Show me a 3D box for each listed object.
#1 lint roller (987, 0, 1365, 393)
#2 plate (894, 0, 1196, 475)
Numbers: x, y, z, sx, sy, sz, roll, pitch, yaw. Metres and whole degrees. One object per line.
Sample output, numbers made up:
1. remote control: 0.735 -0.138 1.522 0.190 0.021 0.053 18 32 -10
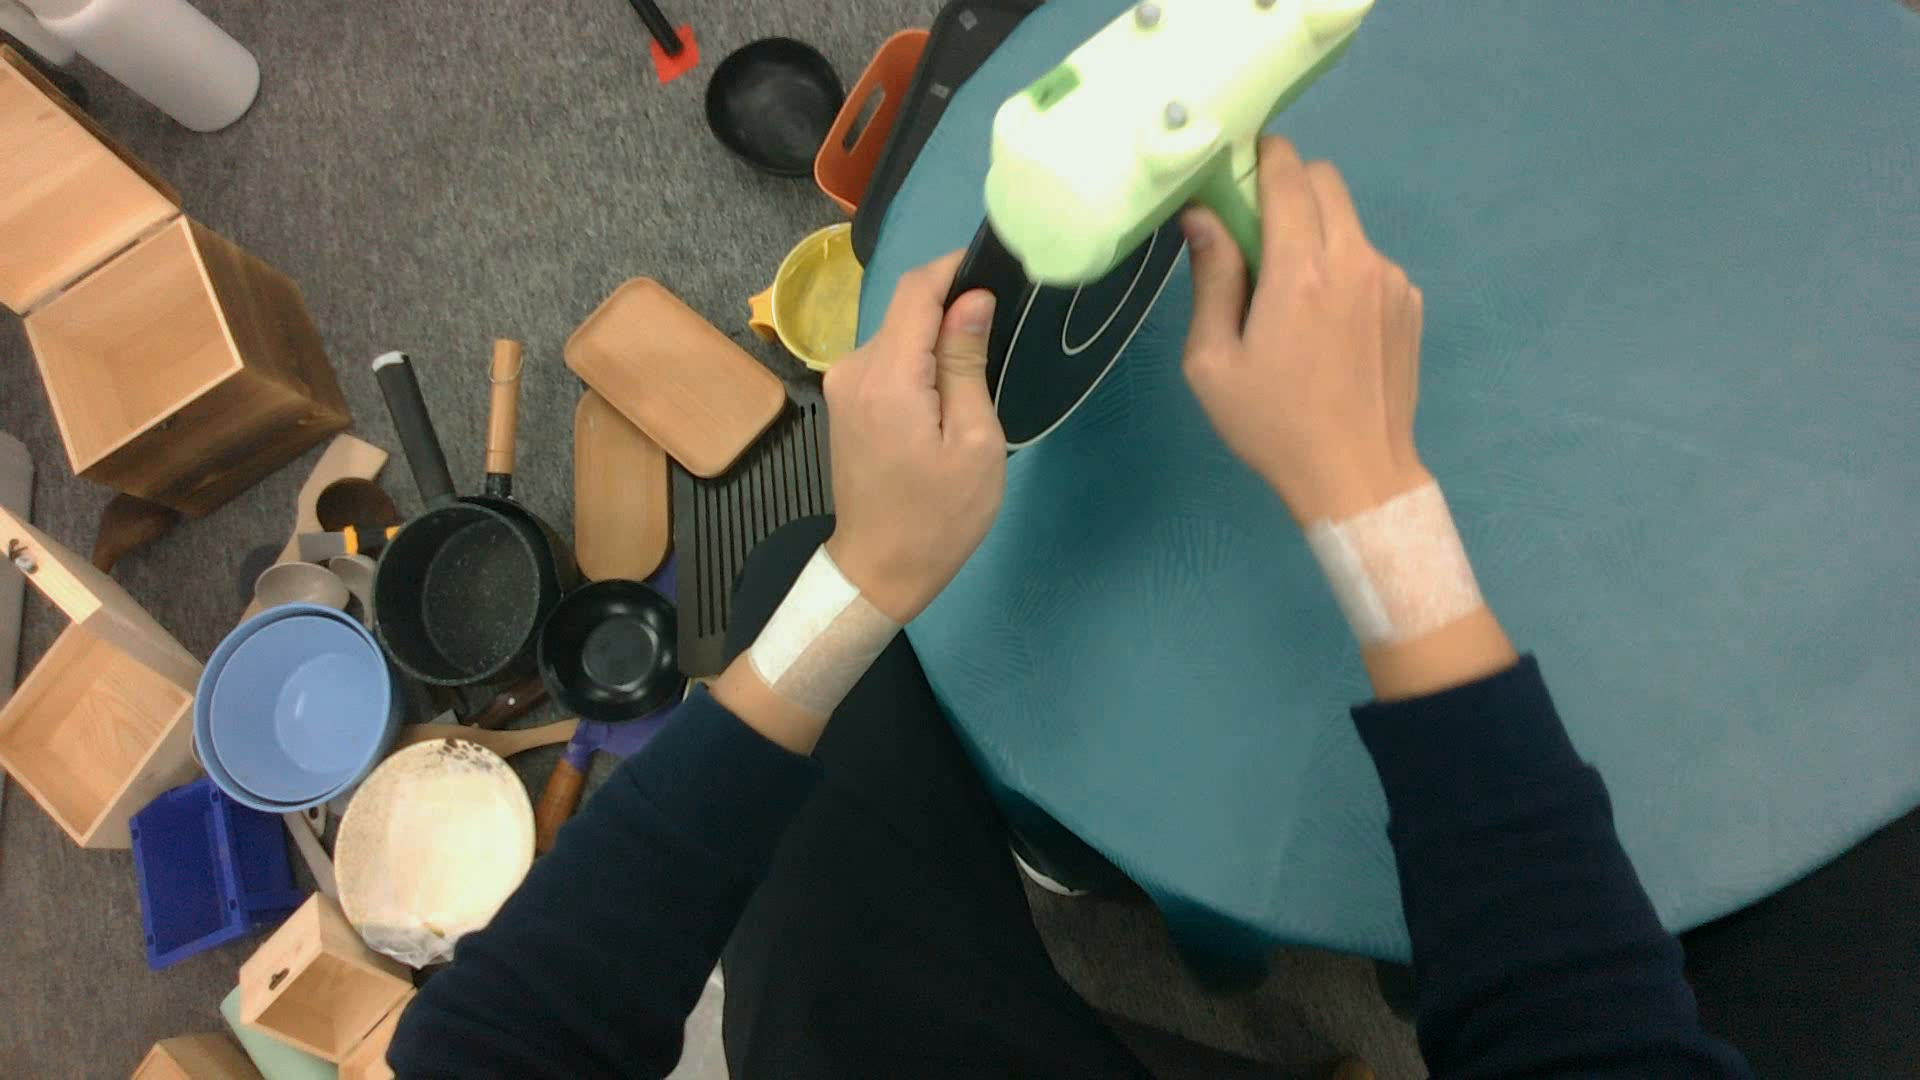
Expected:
1. lint roller: 0.119 -0.138 0.521 0.183 0.082 0.199 50 56 -11
2. plate: 0.050 -0.130 0.616 0.023 0.244 0.244 31 85 15
